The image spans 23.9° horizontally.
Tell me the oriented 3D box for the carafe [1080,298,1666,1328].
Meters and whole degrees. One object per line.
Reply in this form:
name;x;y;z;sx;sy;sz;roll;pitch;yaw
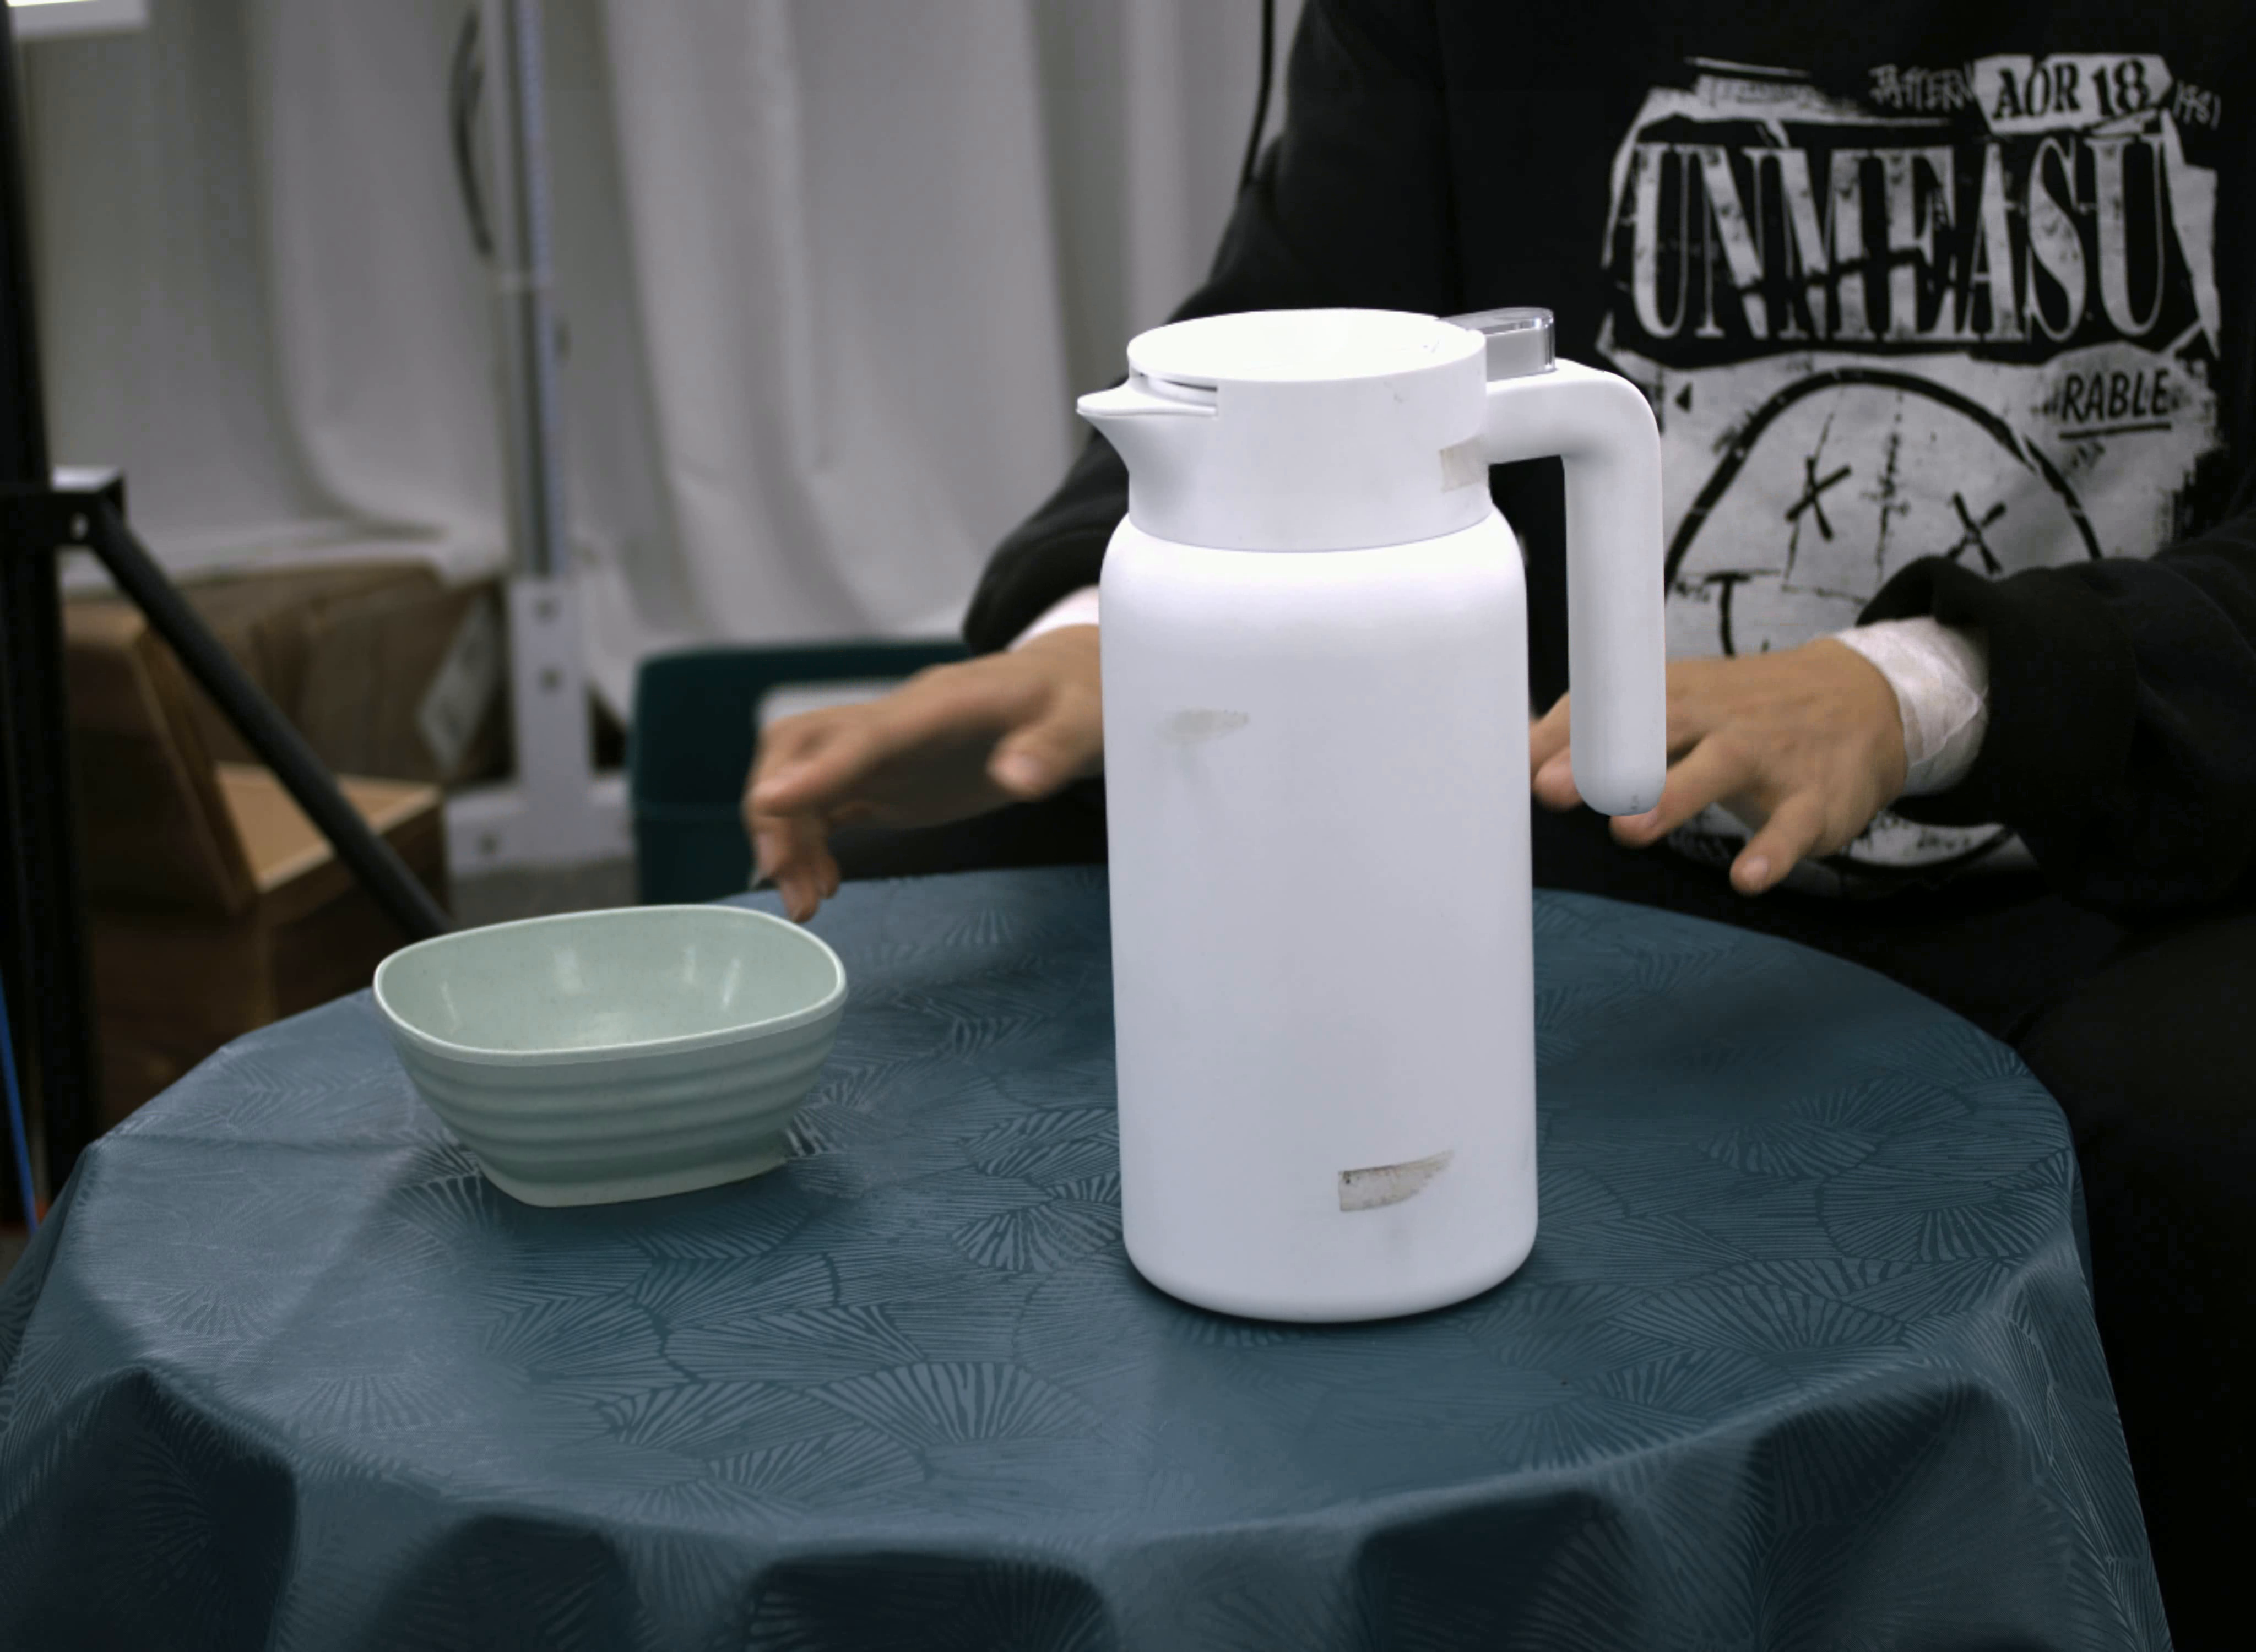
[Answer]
carafe;0.068;-0.007;1.464;0.169;0.269;0.126;-9;15;-25

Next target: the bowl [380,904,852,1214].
bowl;-0.152;0.073;1.603;0.151;0.058;0.152;-4;16;0
